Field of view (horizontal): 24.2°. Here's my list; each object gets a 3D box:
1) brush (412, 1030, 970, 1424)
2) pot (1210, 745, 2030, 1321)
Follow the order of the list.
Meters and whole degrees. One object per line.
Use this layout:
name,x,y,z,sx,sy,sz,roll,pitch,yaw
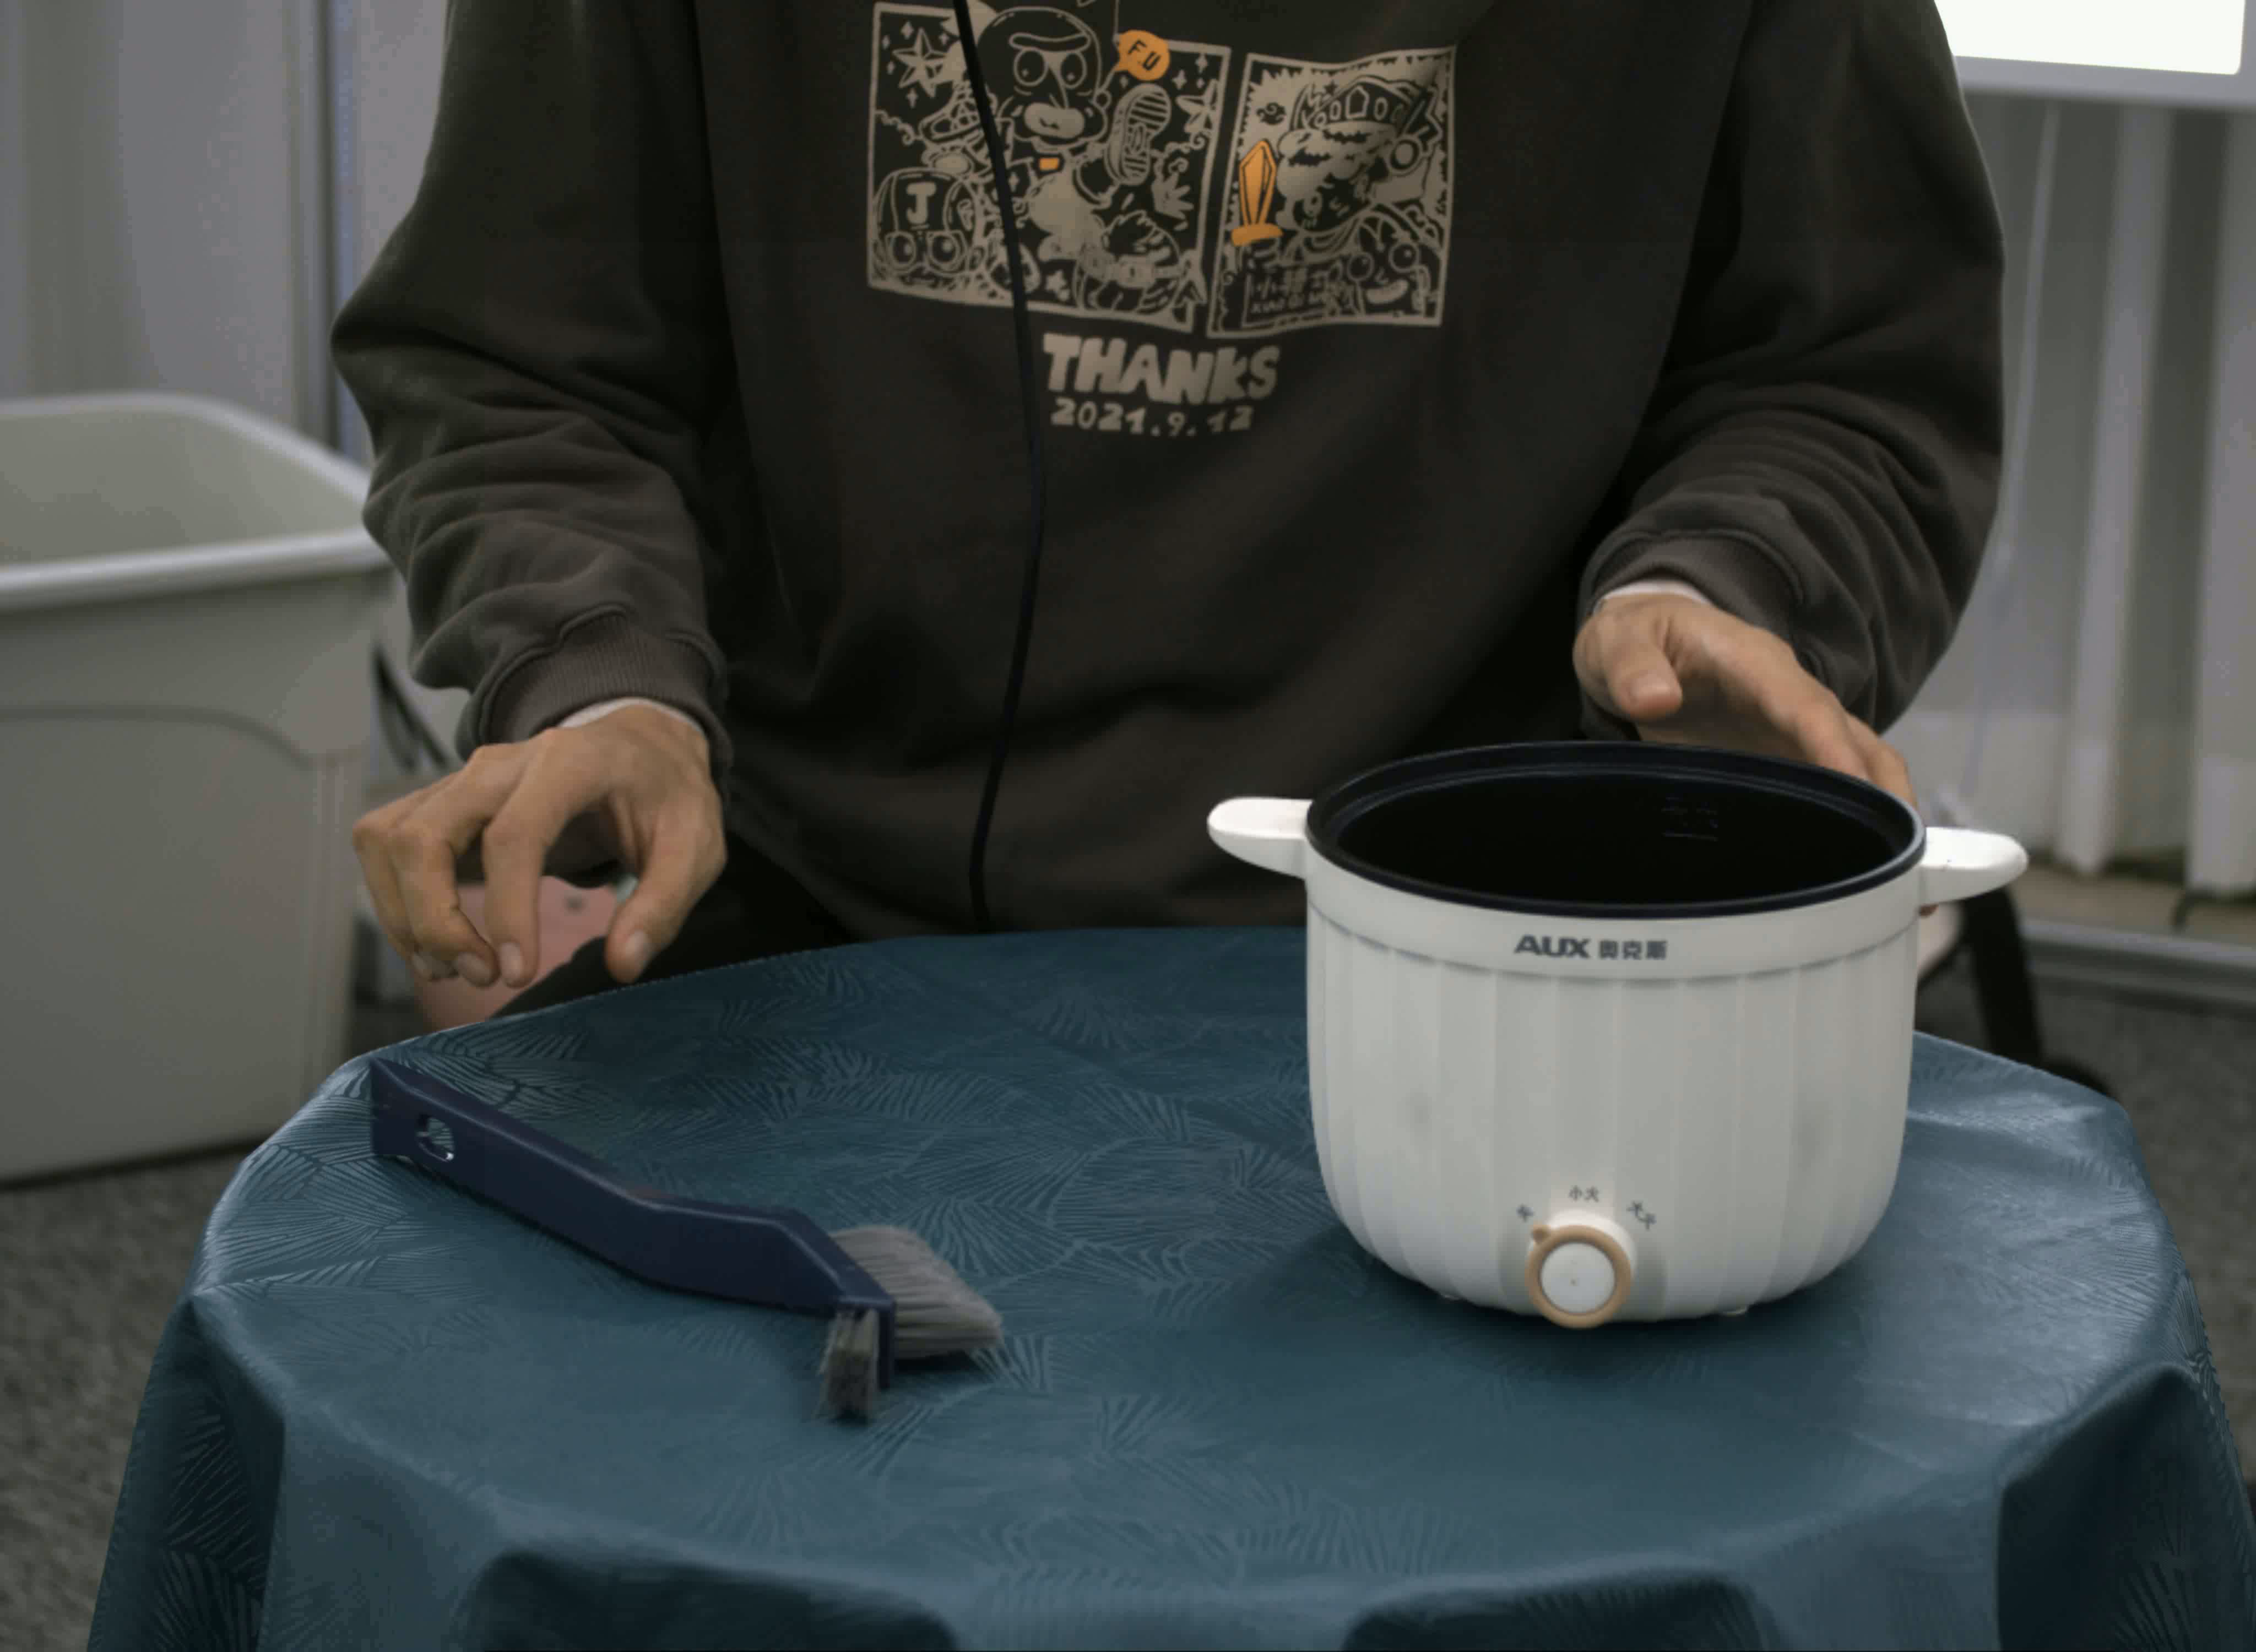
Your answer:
brush,-0.149,0.114,1.551,0.269,0.034,0.096,18,20,41
pot,0.143,0.063,1.552,0.239,0.143,0.190,1,12,8
